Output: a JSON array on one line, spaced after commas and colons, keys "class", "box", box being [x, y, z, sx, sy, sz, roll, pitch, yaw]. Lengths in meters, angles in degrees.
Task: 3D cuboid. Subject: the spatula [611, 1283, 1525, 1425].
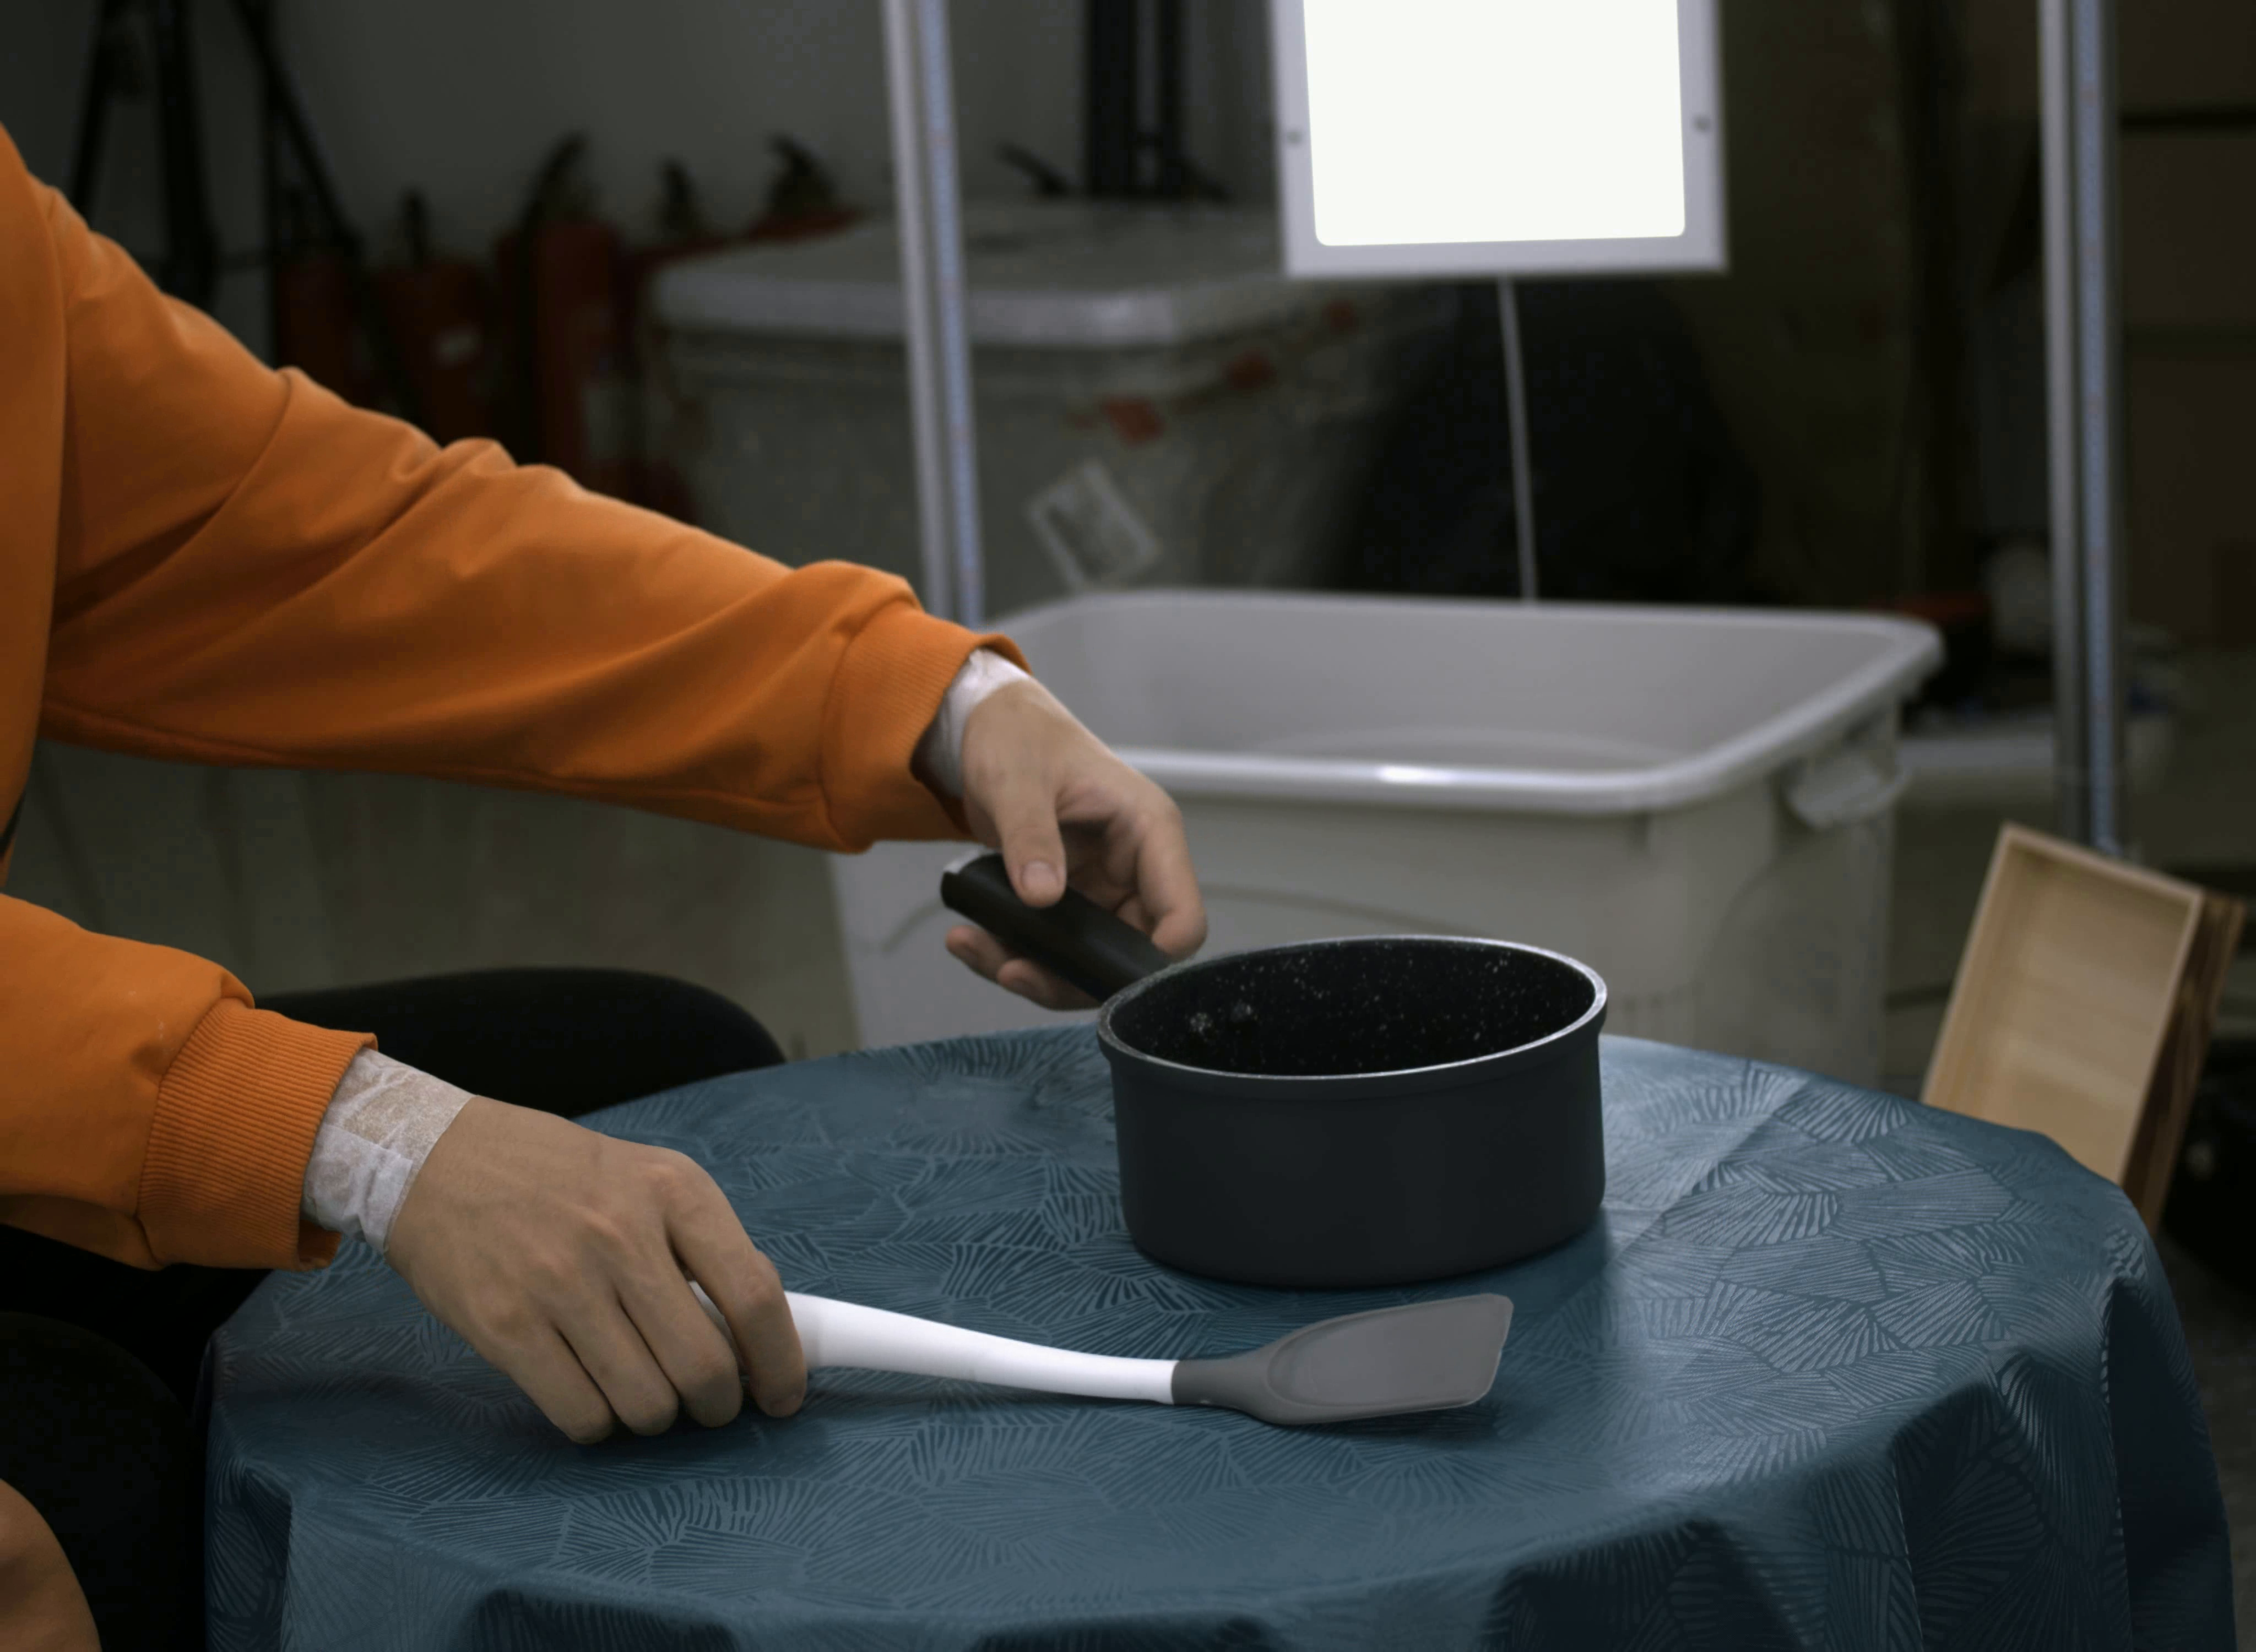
[{"class": "spatula", "box": [-0.019, 0.162, 1.692, 0.291, 0.032, 0.058, 0, 33, 18]}]

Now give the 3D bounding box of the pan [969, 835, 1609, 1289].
[{"class": "pan", "box": [0.036, 0.077, 1.906, 0.168, 0.087, 0.334, -11, 17, -28]}]
